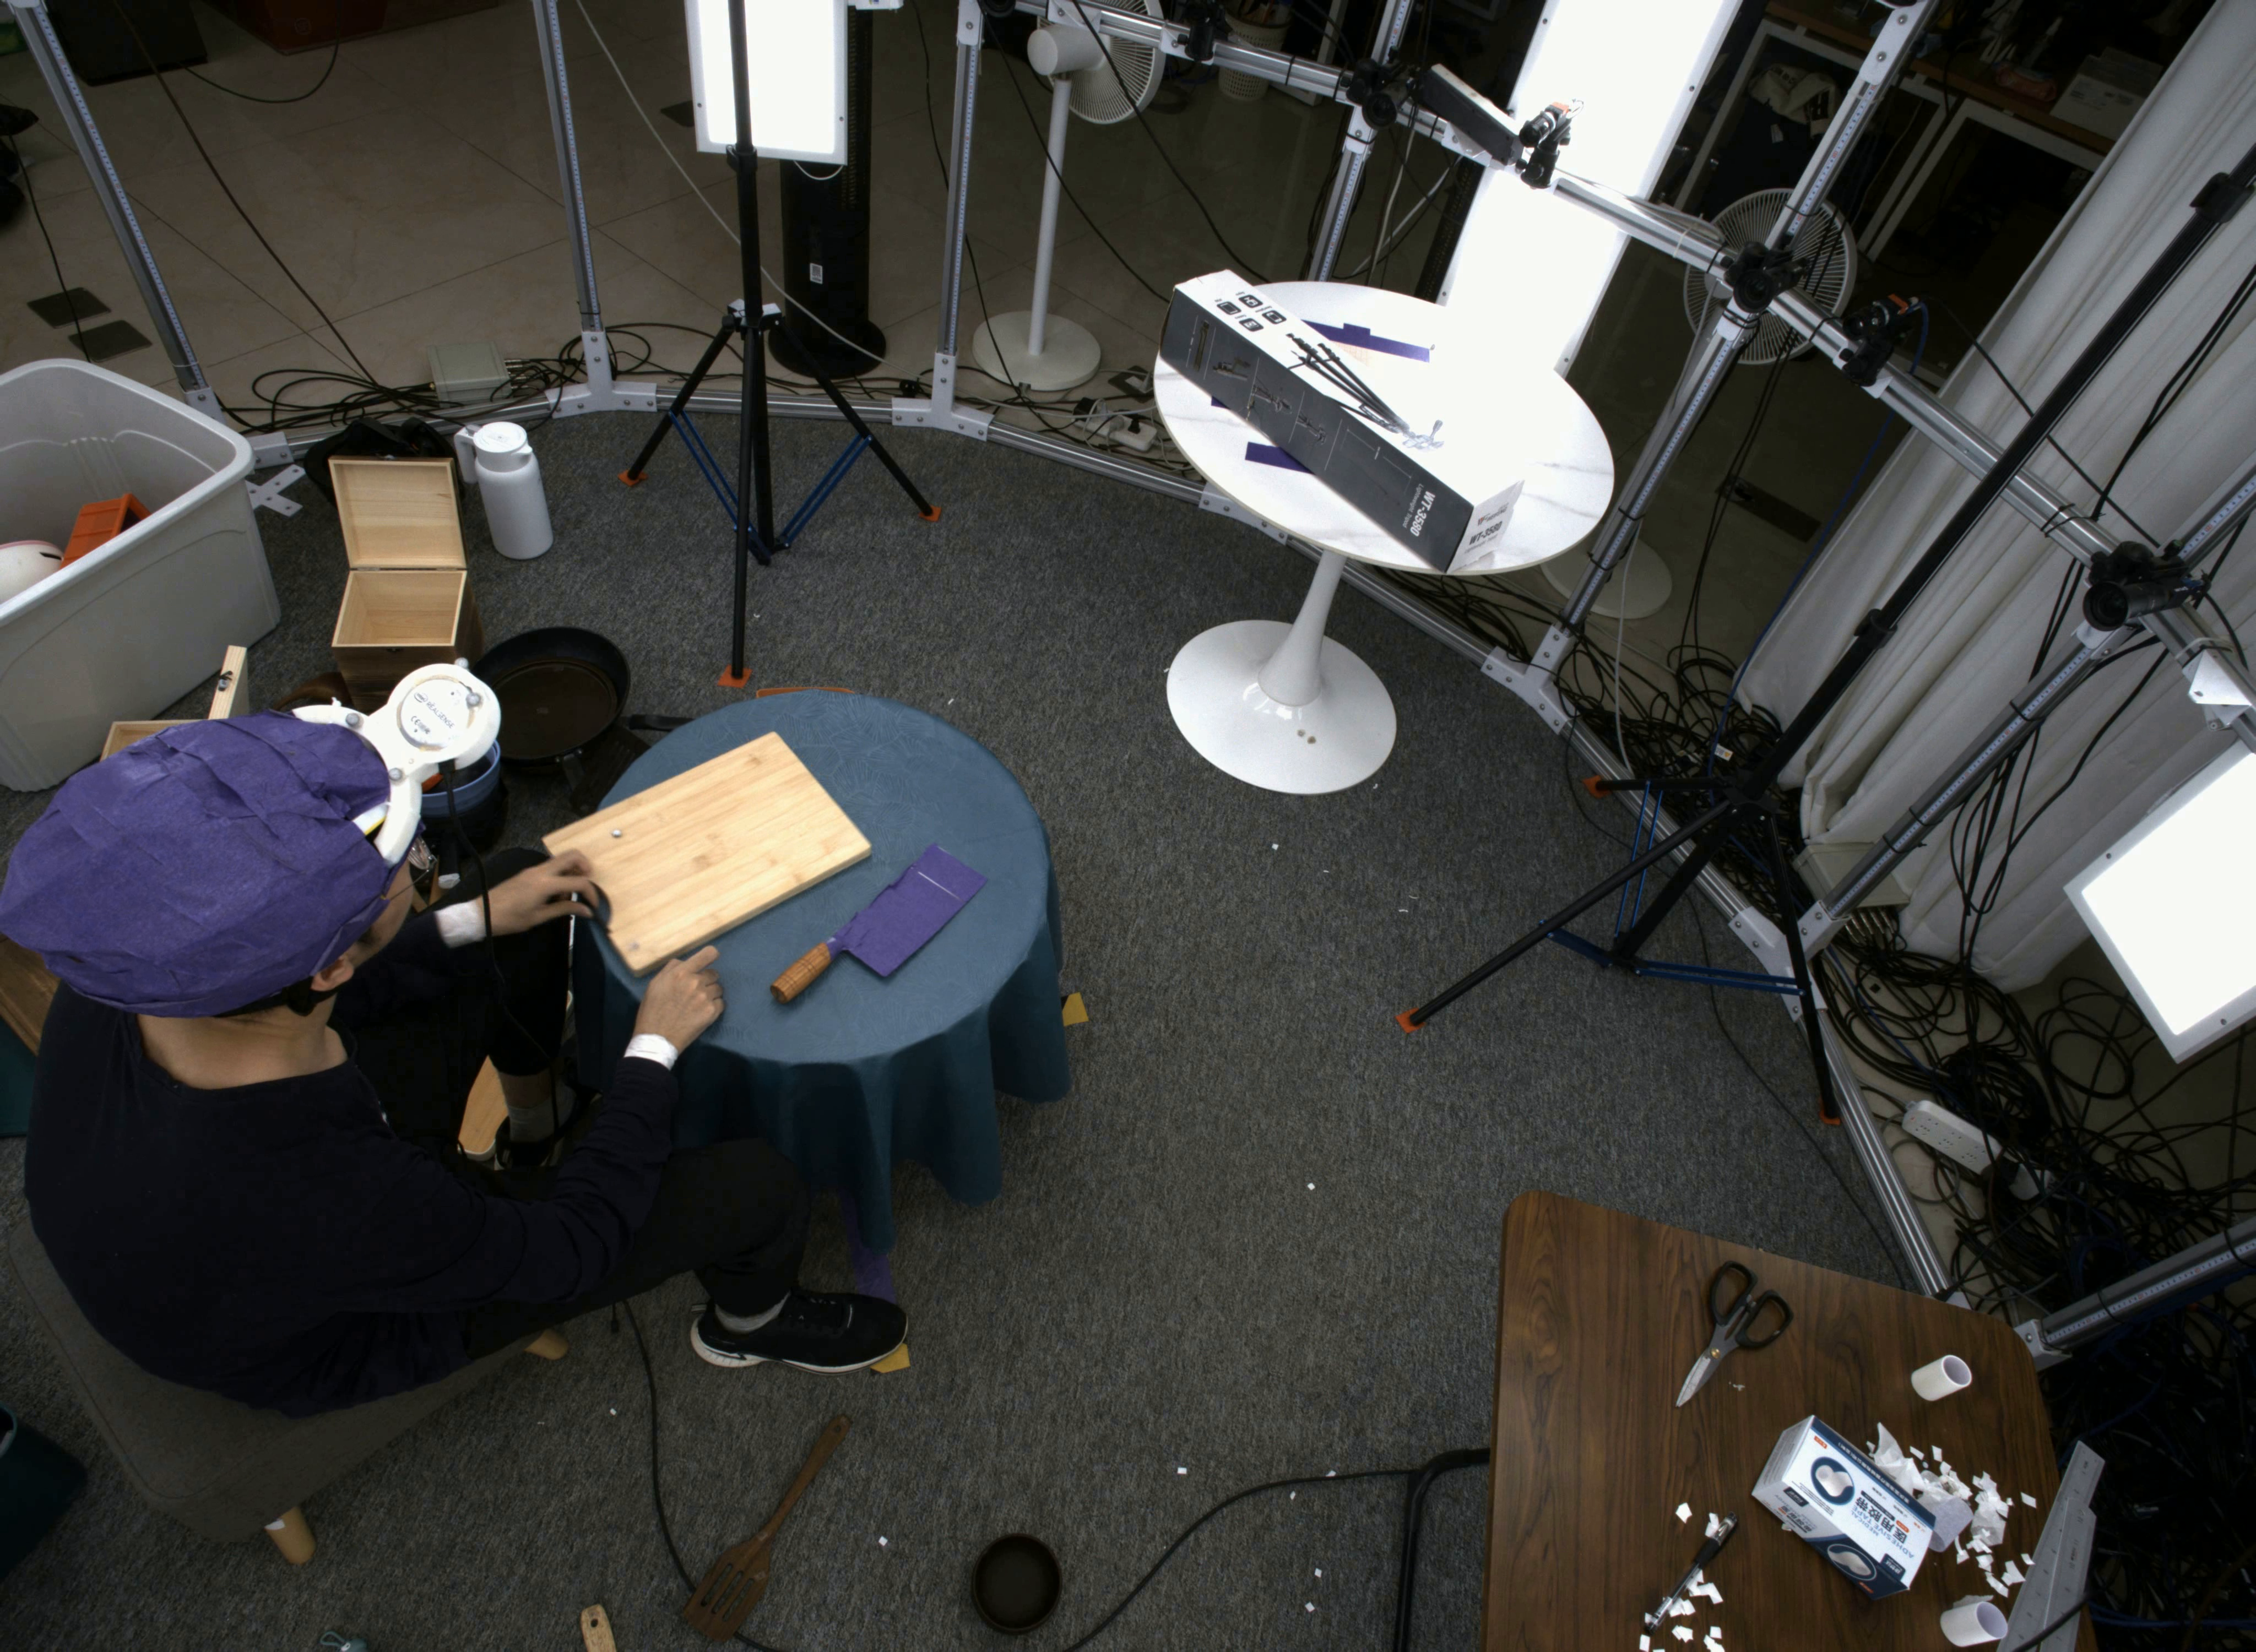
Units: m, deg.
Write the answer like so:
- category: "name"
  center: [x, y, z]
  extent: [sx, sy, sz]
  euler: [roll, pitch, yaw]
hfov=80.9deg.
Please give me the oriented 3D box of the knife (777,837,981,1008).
- category: "knife"
  center: [-0.307, 0.129, 1.652]
  extent: [0.102, 0.033, 0.314]
  euler: [33, 53, 12]

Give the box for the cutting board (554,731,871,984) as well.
- category: "cutting board"
  center: [-0.541, 0.028, 1.674]
  extent: [0.350, 0.024, 0.245]
  euler: [-32, 67, -31]
